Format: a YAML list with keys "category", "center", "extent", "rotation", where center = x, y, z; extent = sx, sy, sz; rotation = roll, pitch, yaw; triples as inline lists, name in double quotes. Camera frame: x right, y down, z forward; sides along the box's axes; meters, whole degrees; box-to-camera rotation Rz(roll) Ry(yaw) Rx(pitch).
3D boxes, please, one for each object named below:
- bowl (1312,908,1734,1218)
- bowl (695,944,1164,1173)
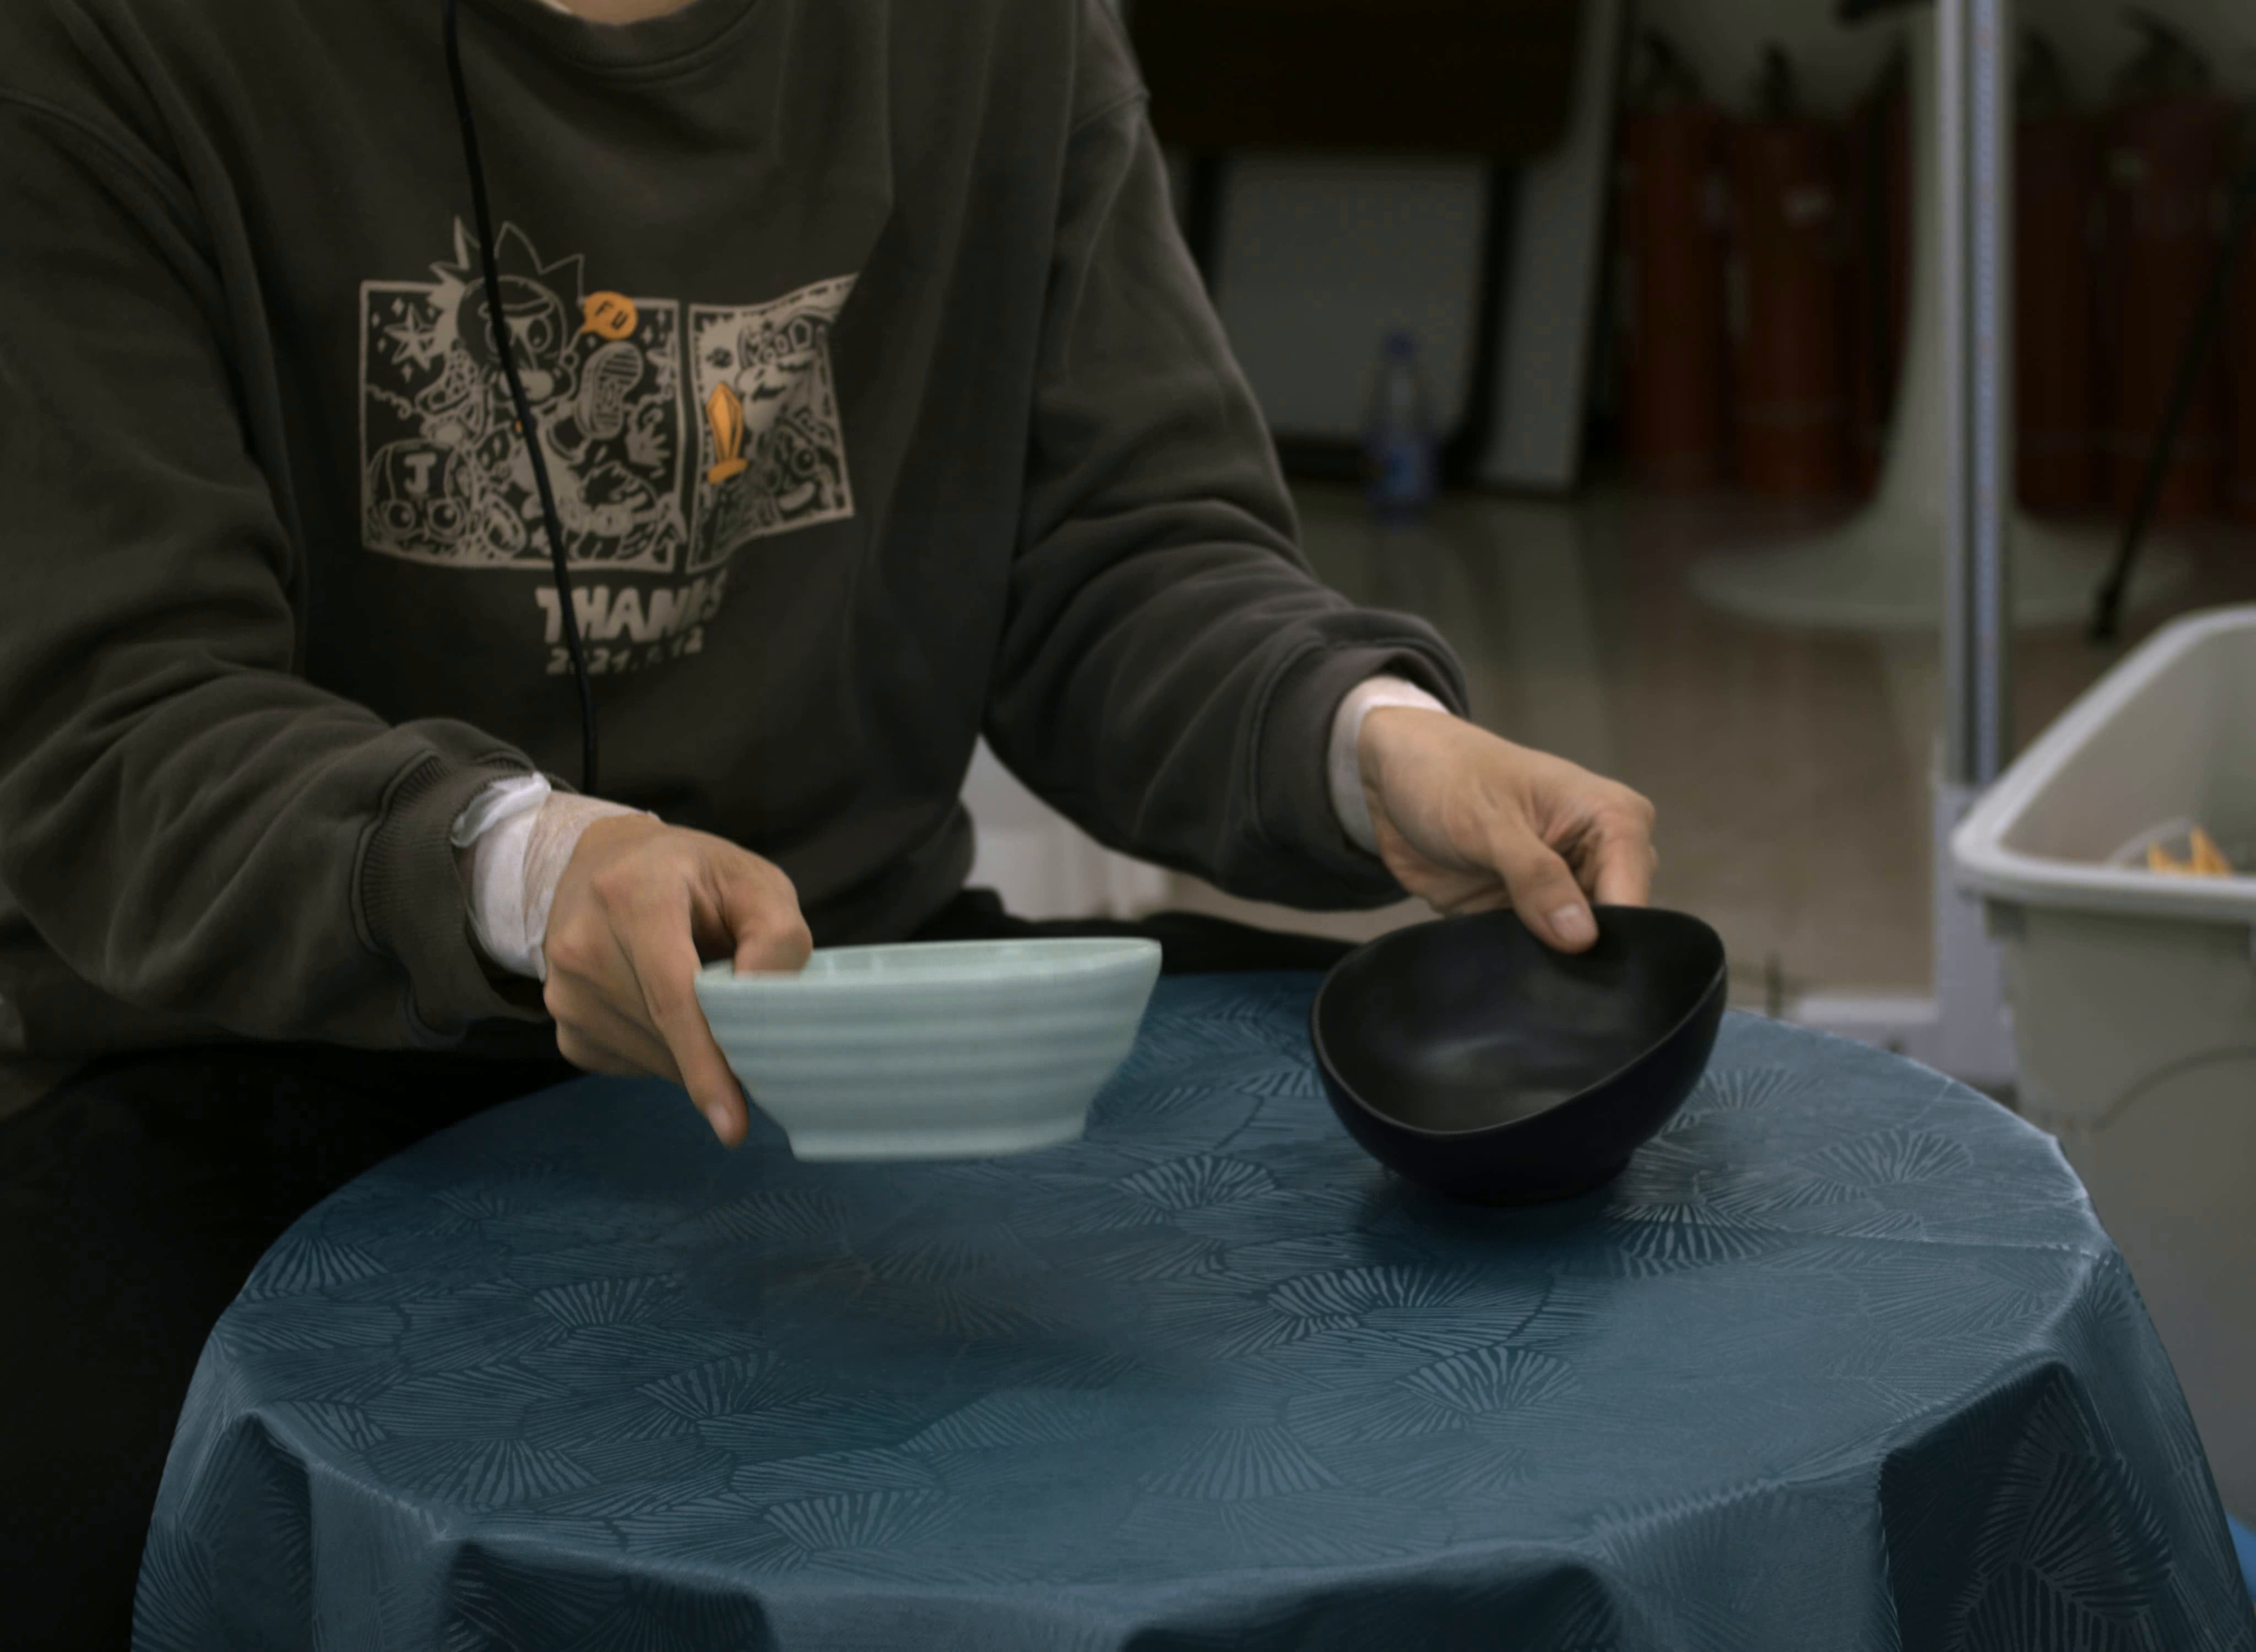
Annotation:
- category: "bowl"
  center: [0.131, 0.083, 1.747]
  extent: [0.137, 0.067, 0.169]
  rotation: [-3, 21, 19]
- category: "bowl"
  center: [-0.059, 0.071, 1.640]
  extent: [0.149, 0.059, 0.151]
  rotation: [-2, 4, -1]
